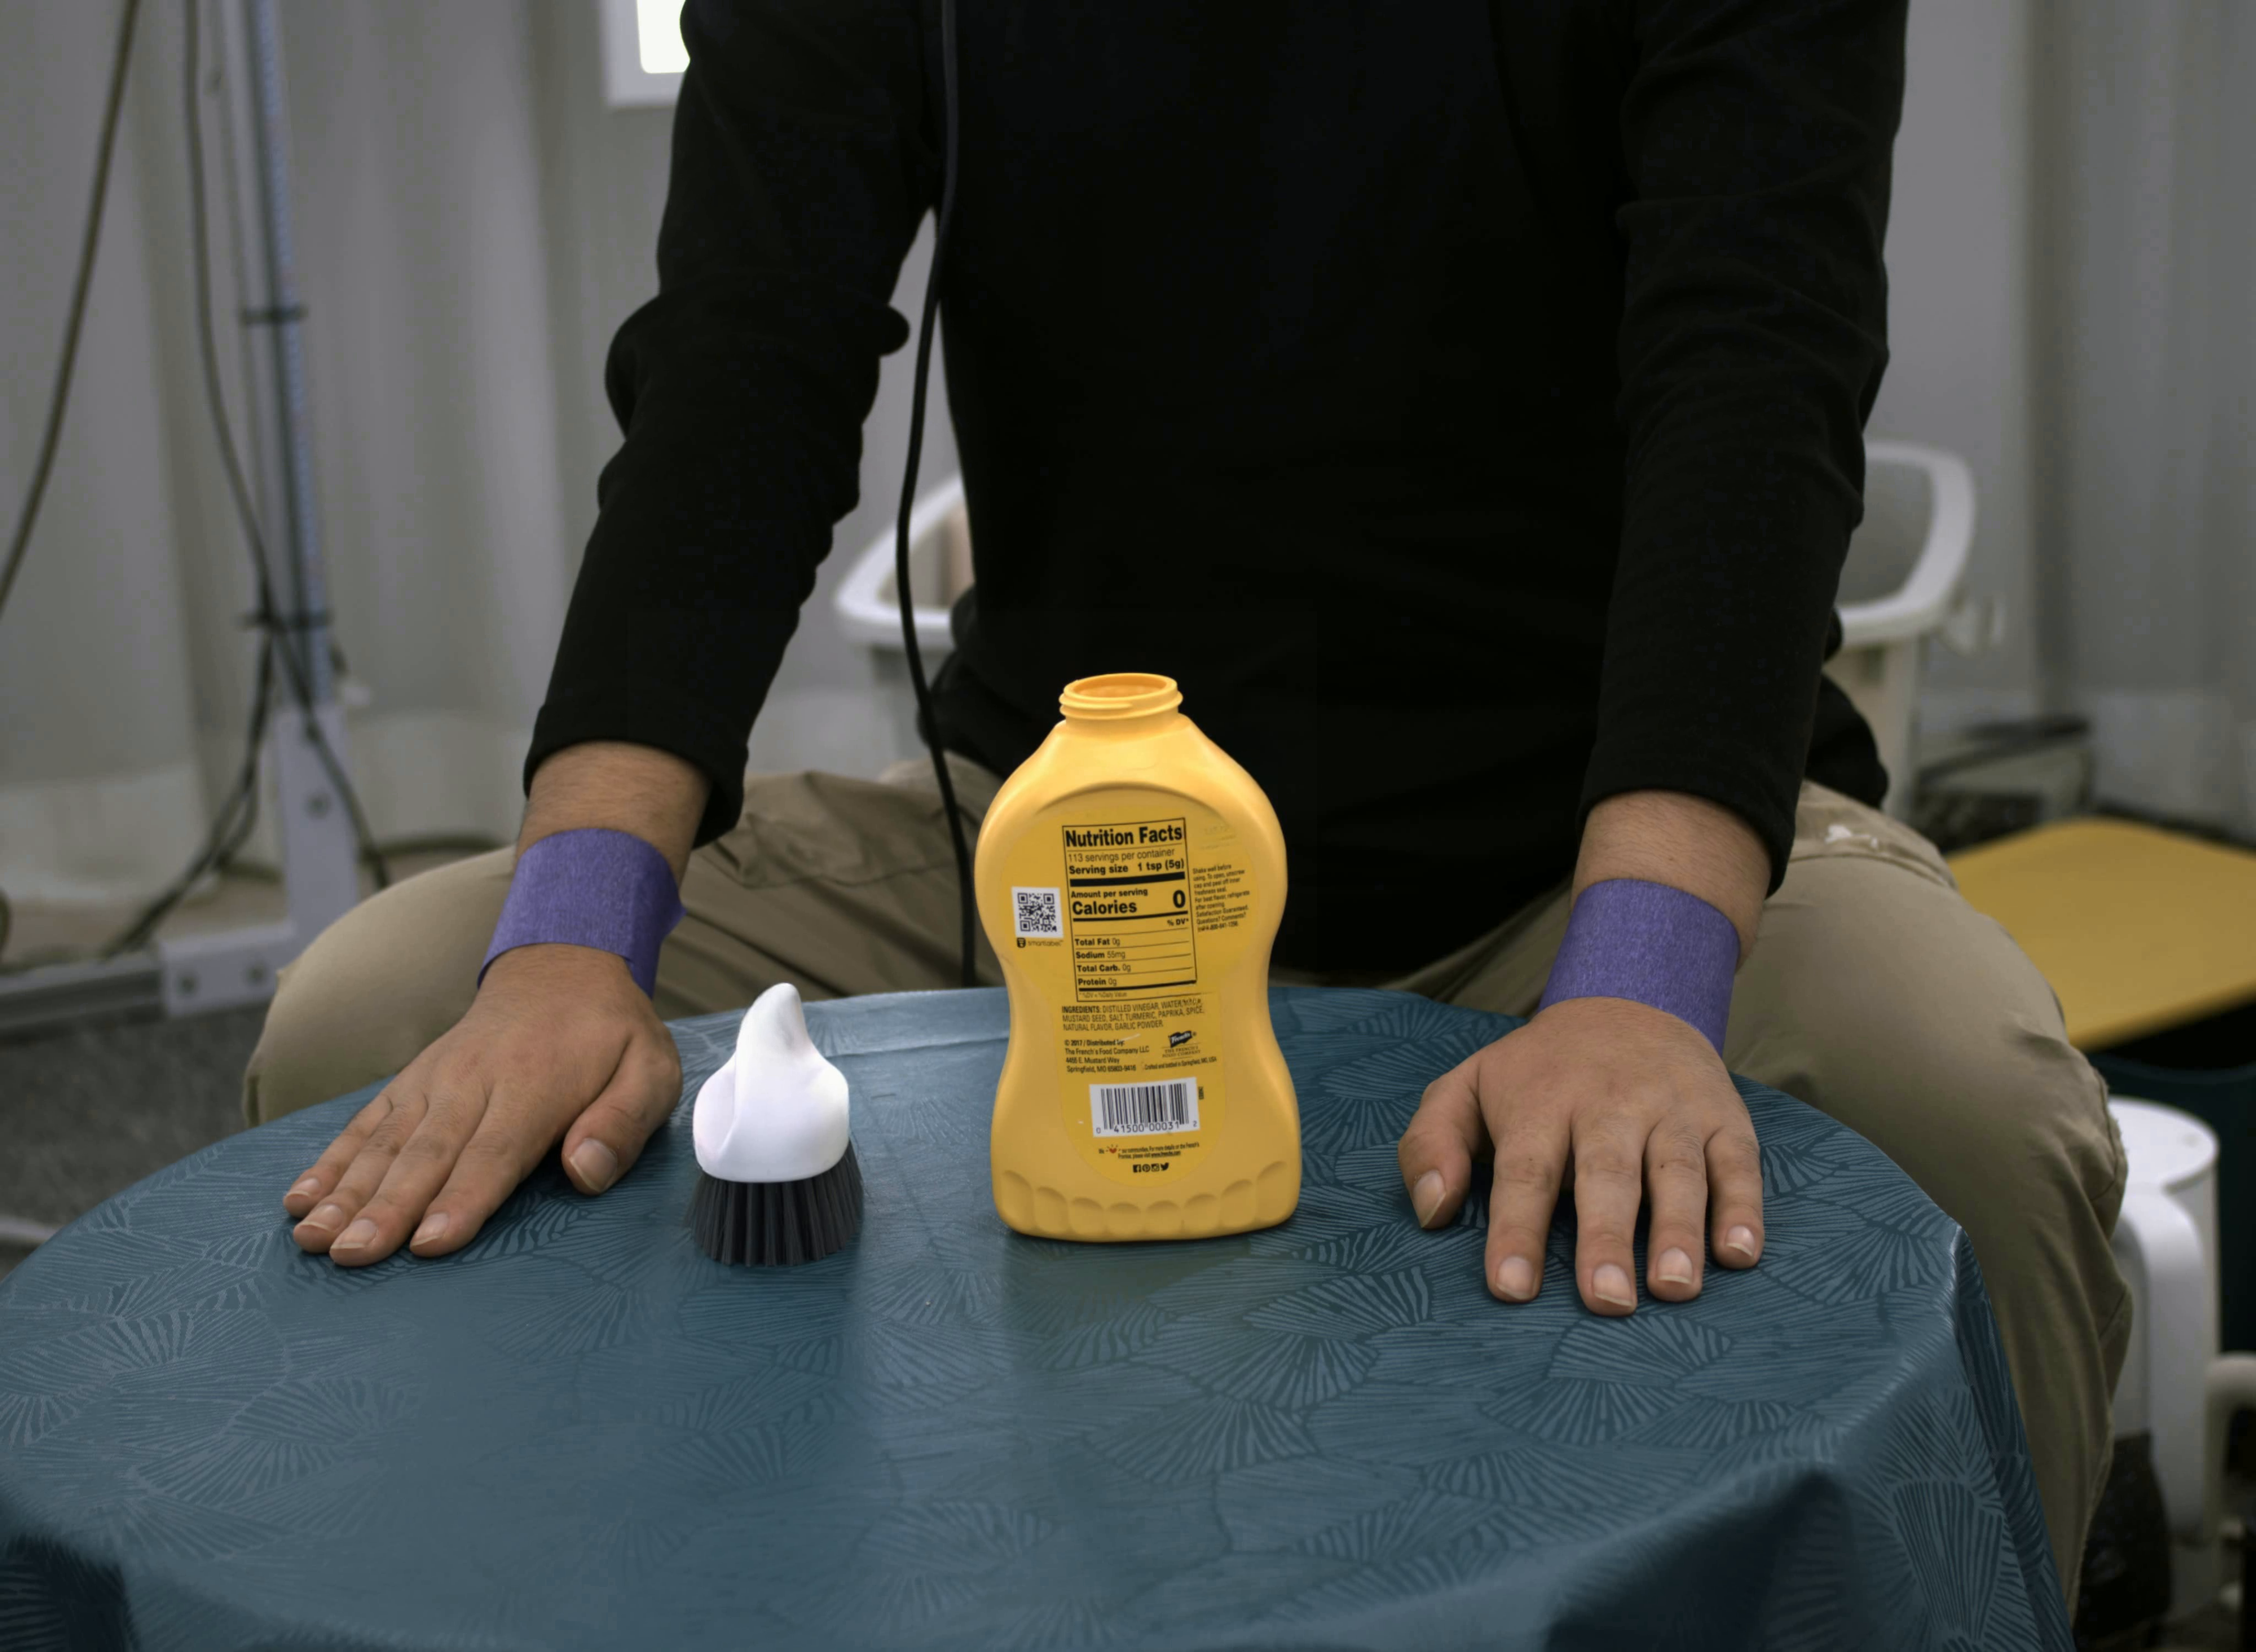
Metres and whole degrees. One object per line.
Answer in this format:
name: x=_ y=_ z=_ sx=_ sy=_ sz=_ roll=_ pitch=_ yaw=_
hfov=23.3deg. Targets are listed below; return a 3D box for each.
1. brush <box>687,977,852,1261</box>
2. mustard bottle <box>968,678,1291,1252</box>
brush: x=-0.112 y=0.086 z=1.701 sx=0.050 sy=0.072 sz=0.100 roll=-1 pitch=16 yaw=1
mustard bottle: x=-0.001 y=0.041 z=1.668 sx=0.098 sy=0.171 sz=0.059 roll=-4 pitch=9 yaw=0
